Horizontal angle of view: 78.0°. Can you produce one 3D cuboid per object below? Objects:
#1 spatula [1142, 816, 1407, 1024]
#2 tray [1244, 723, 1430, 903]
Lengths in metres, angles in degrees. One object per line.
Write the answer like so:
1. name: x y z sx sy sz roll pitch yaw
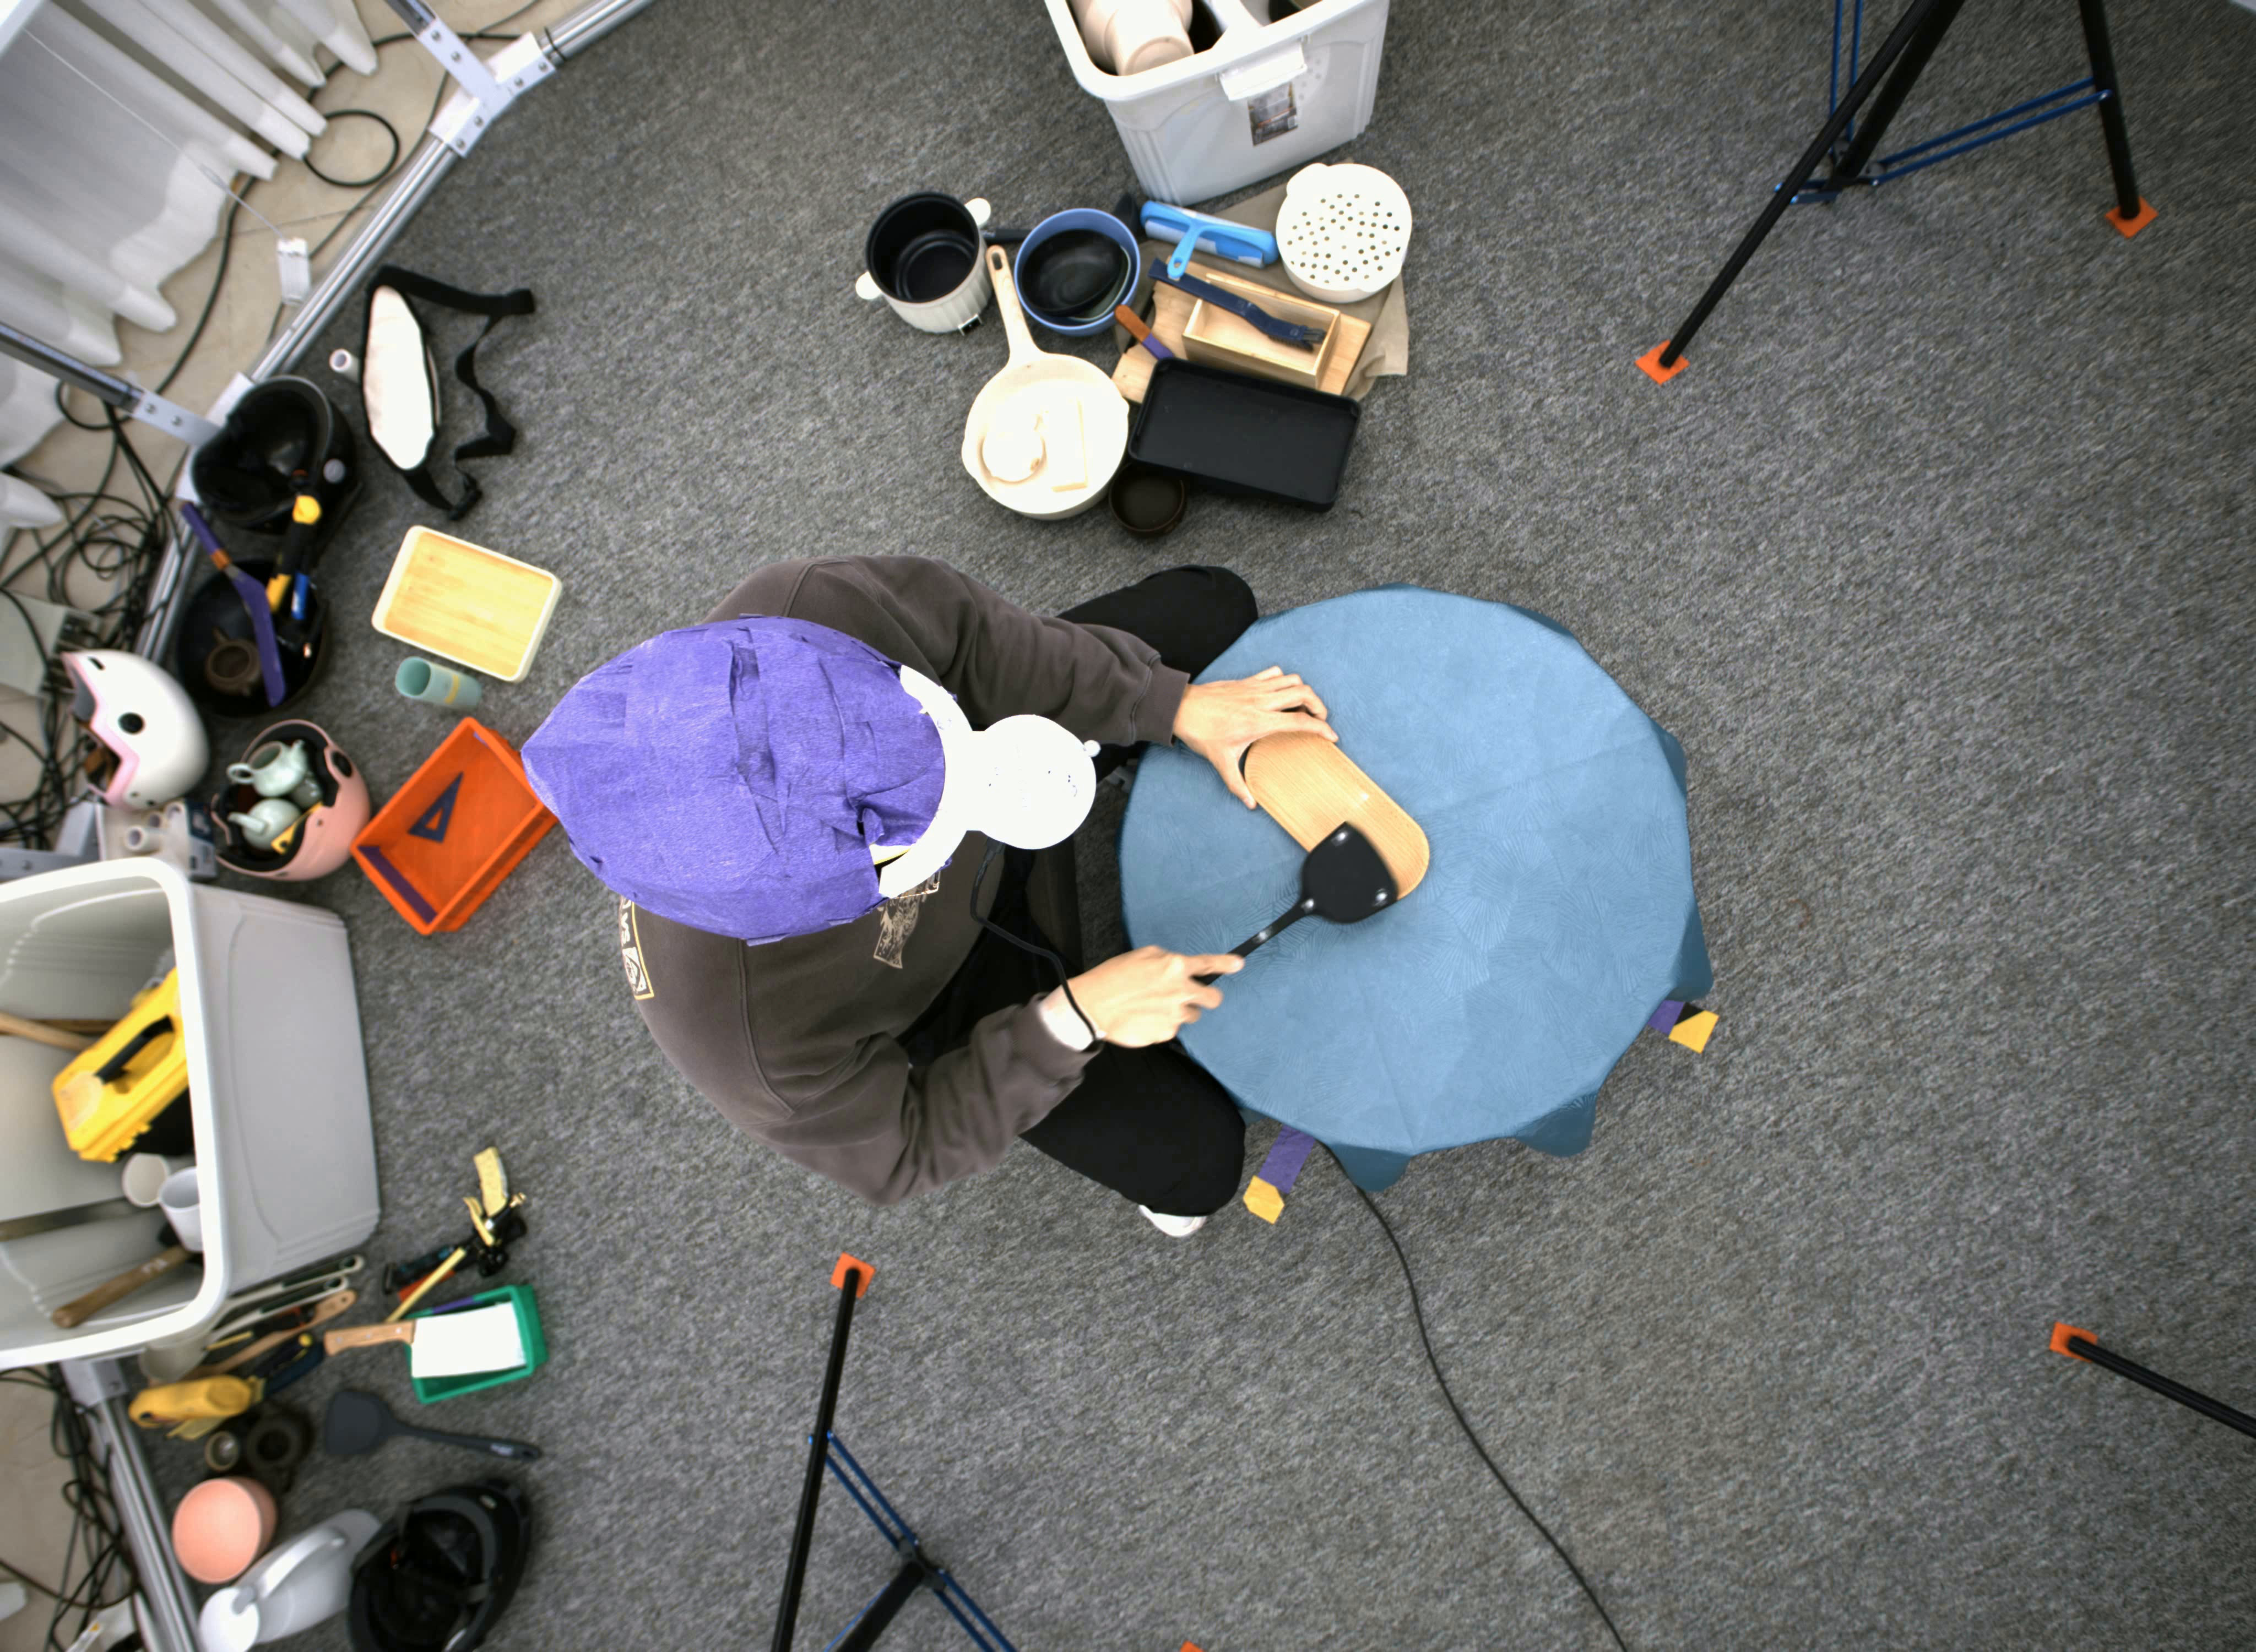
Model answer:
1. spatula: 0.139 0.101 1.346 0.321 0.041 0.099 -32 86 -30
2. tray: 0.221 -0.015 1.462 0.230 0.020 0.102 45 97 8
